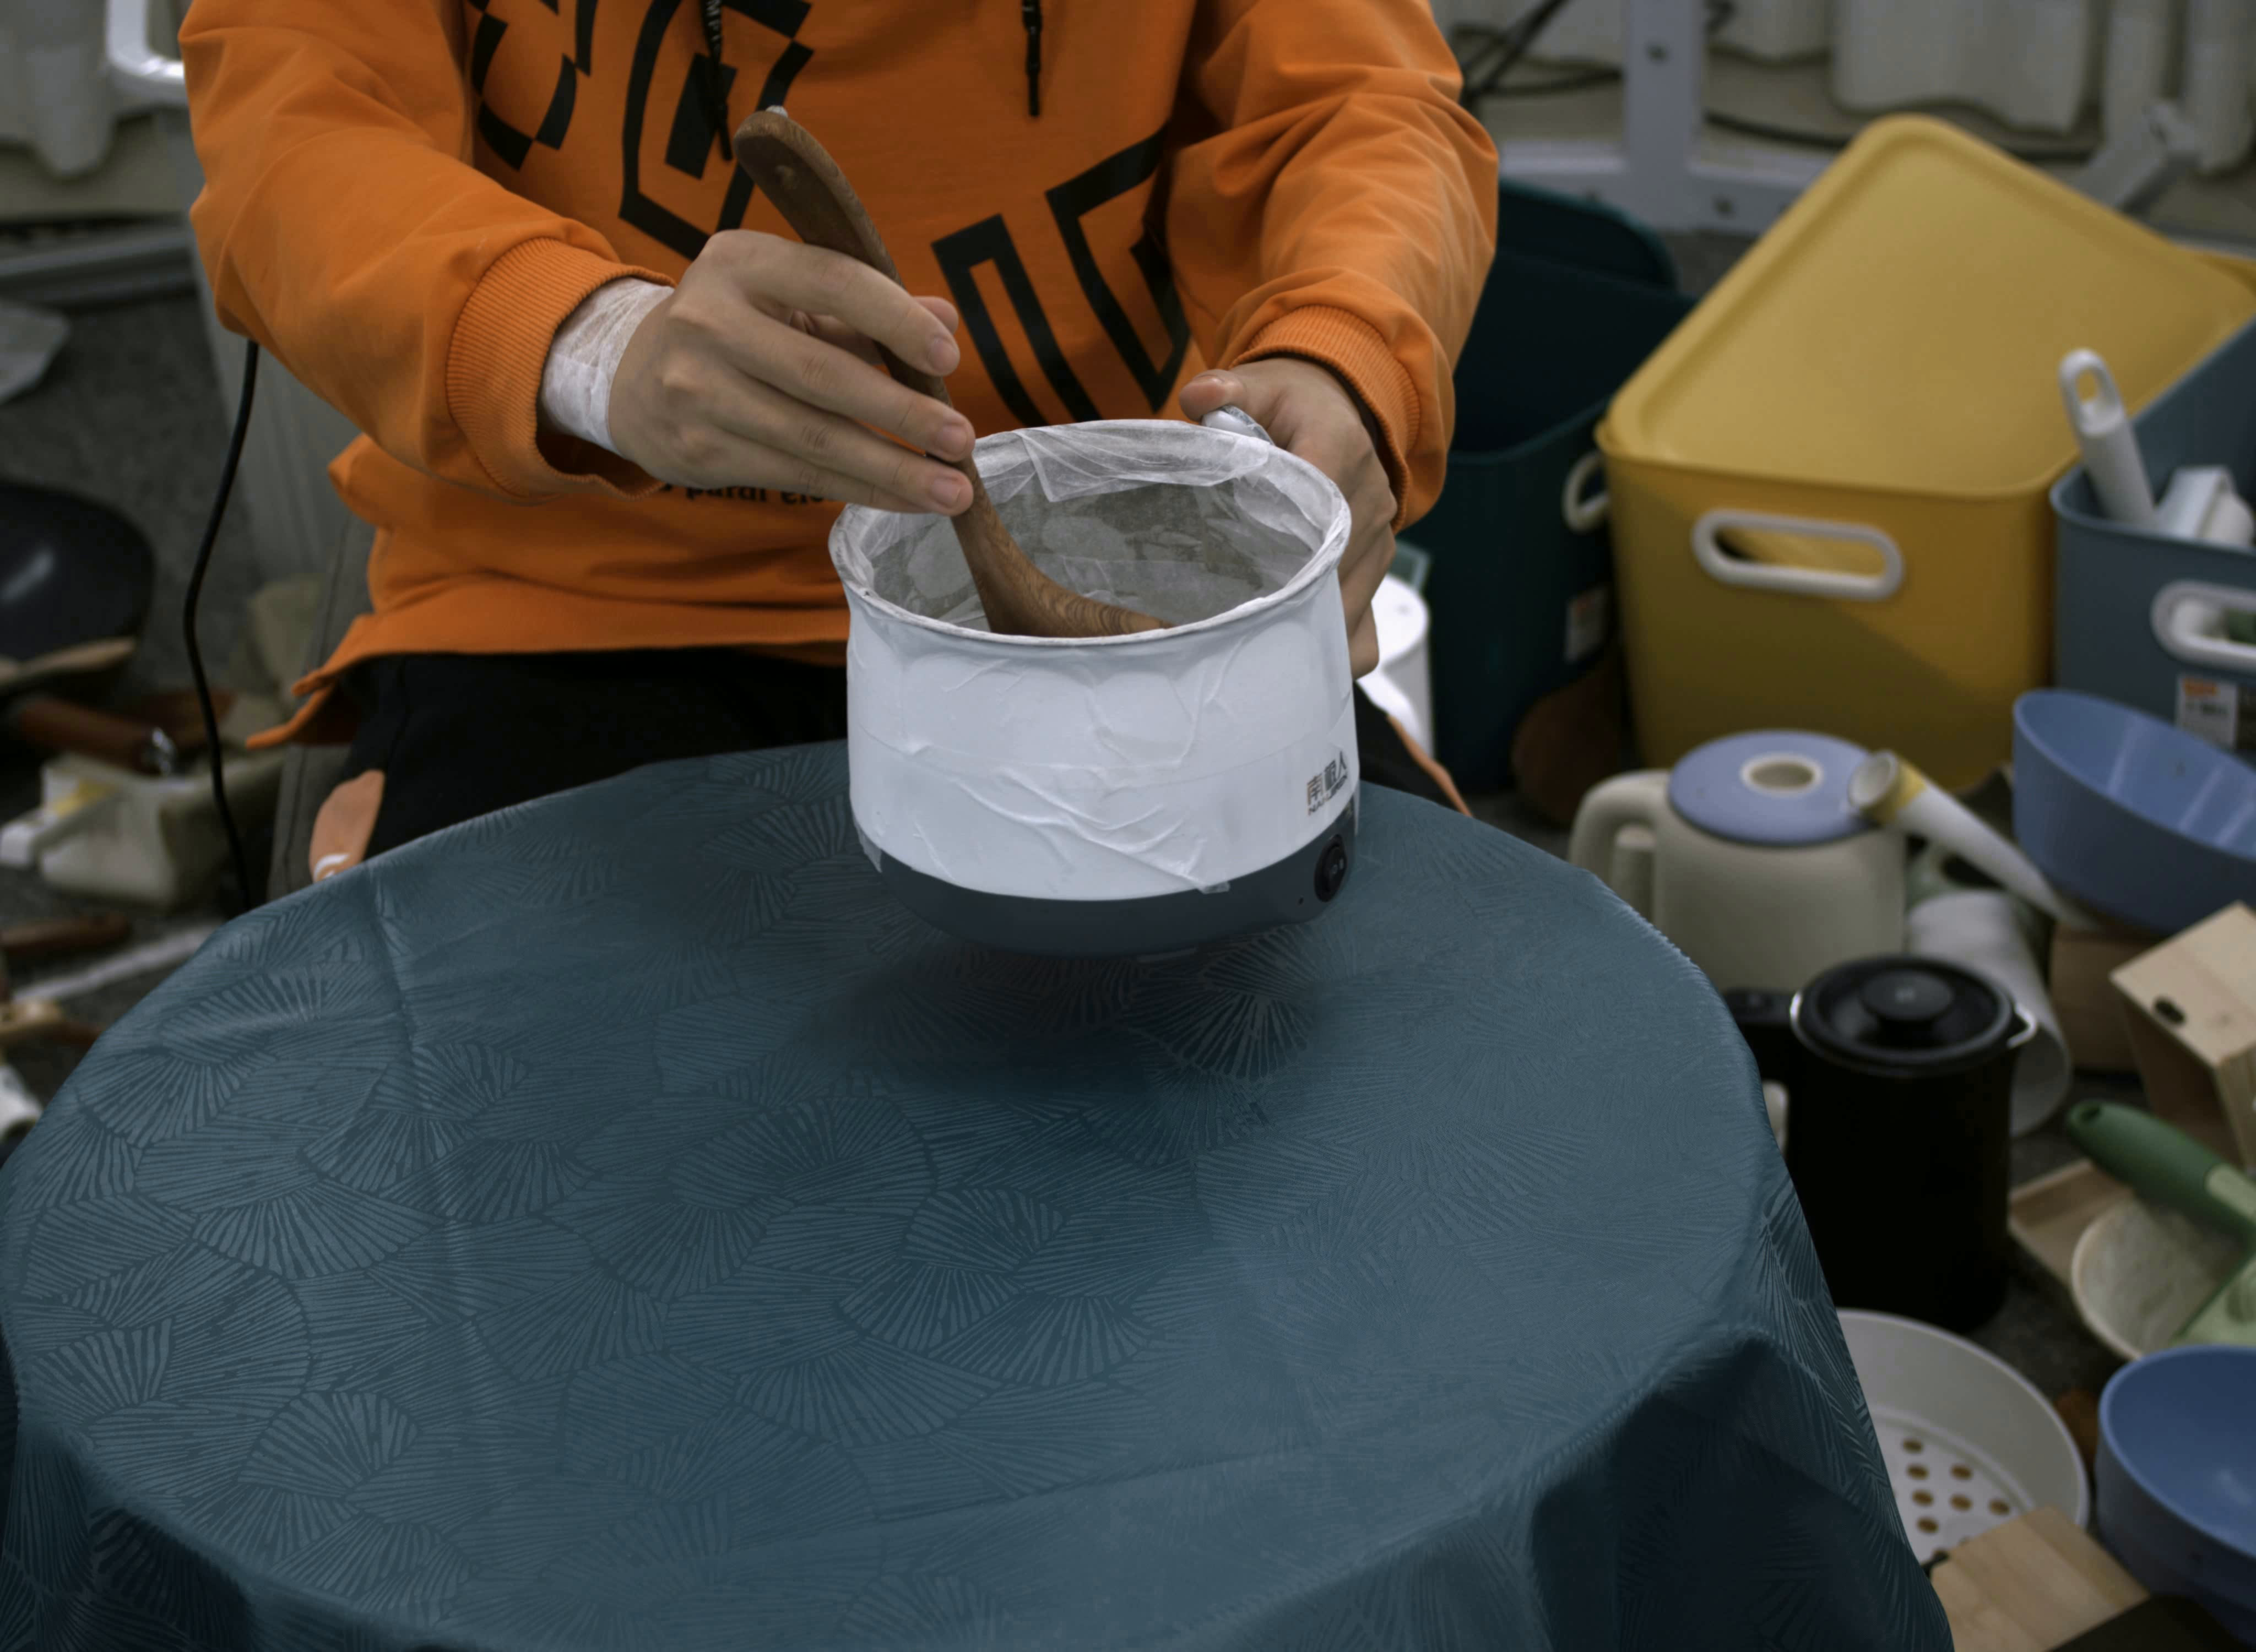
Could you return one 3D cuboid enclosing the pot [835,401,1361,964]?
[{"bbox_3d":[0.003,-0.058,1.952,0.177,0.135,0.237,11,30,24],"label":"pot"}]

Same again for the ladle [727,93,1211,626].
[{"bbox_3d":[-0.053,-0.140,1.900,0.075,0.259,0.066,-23,13,33],"label":"ladle"}]
